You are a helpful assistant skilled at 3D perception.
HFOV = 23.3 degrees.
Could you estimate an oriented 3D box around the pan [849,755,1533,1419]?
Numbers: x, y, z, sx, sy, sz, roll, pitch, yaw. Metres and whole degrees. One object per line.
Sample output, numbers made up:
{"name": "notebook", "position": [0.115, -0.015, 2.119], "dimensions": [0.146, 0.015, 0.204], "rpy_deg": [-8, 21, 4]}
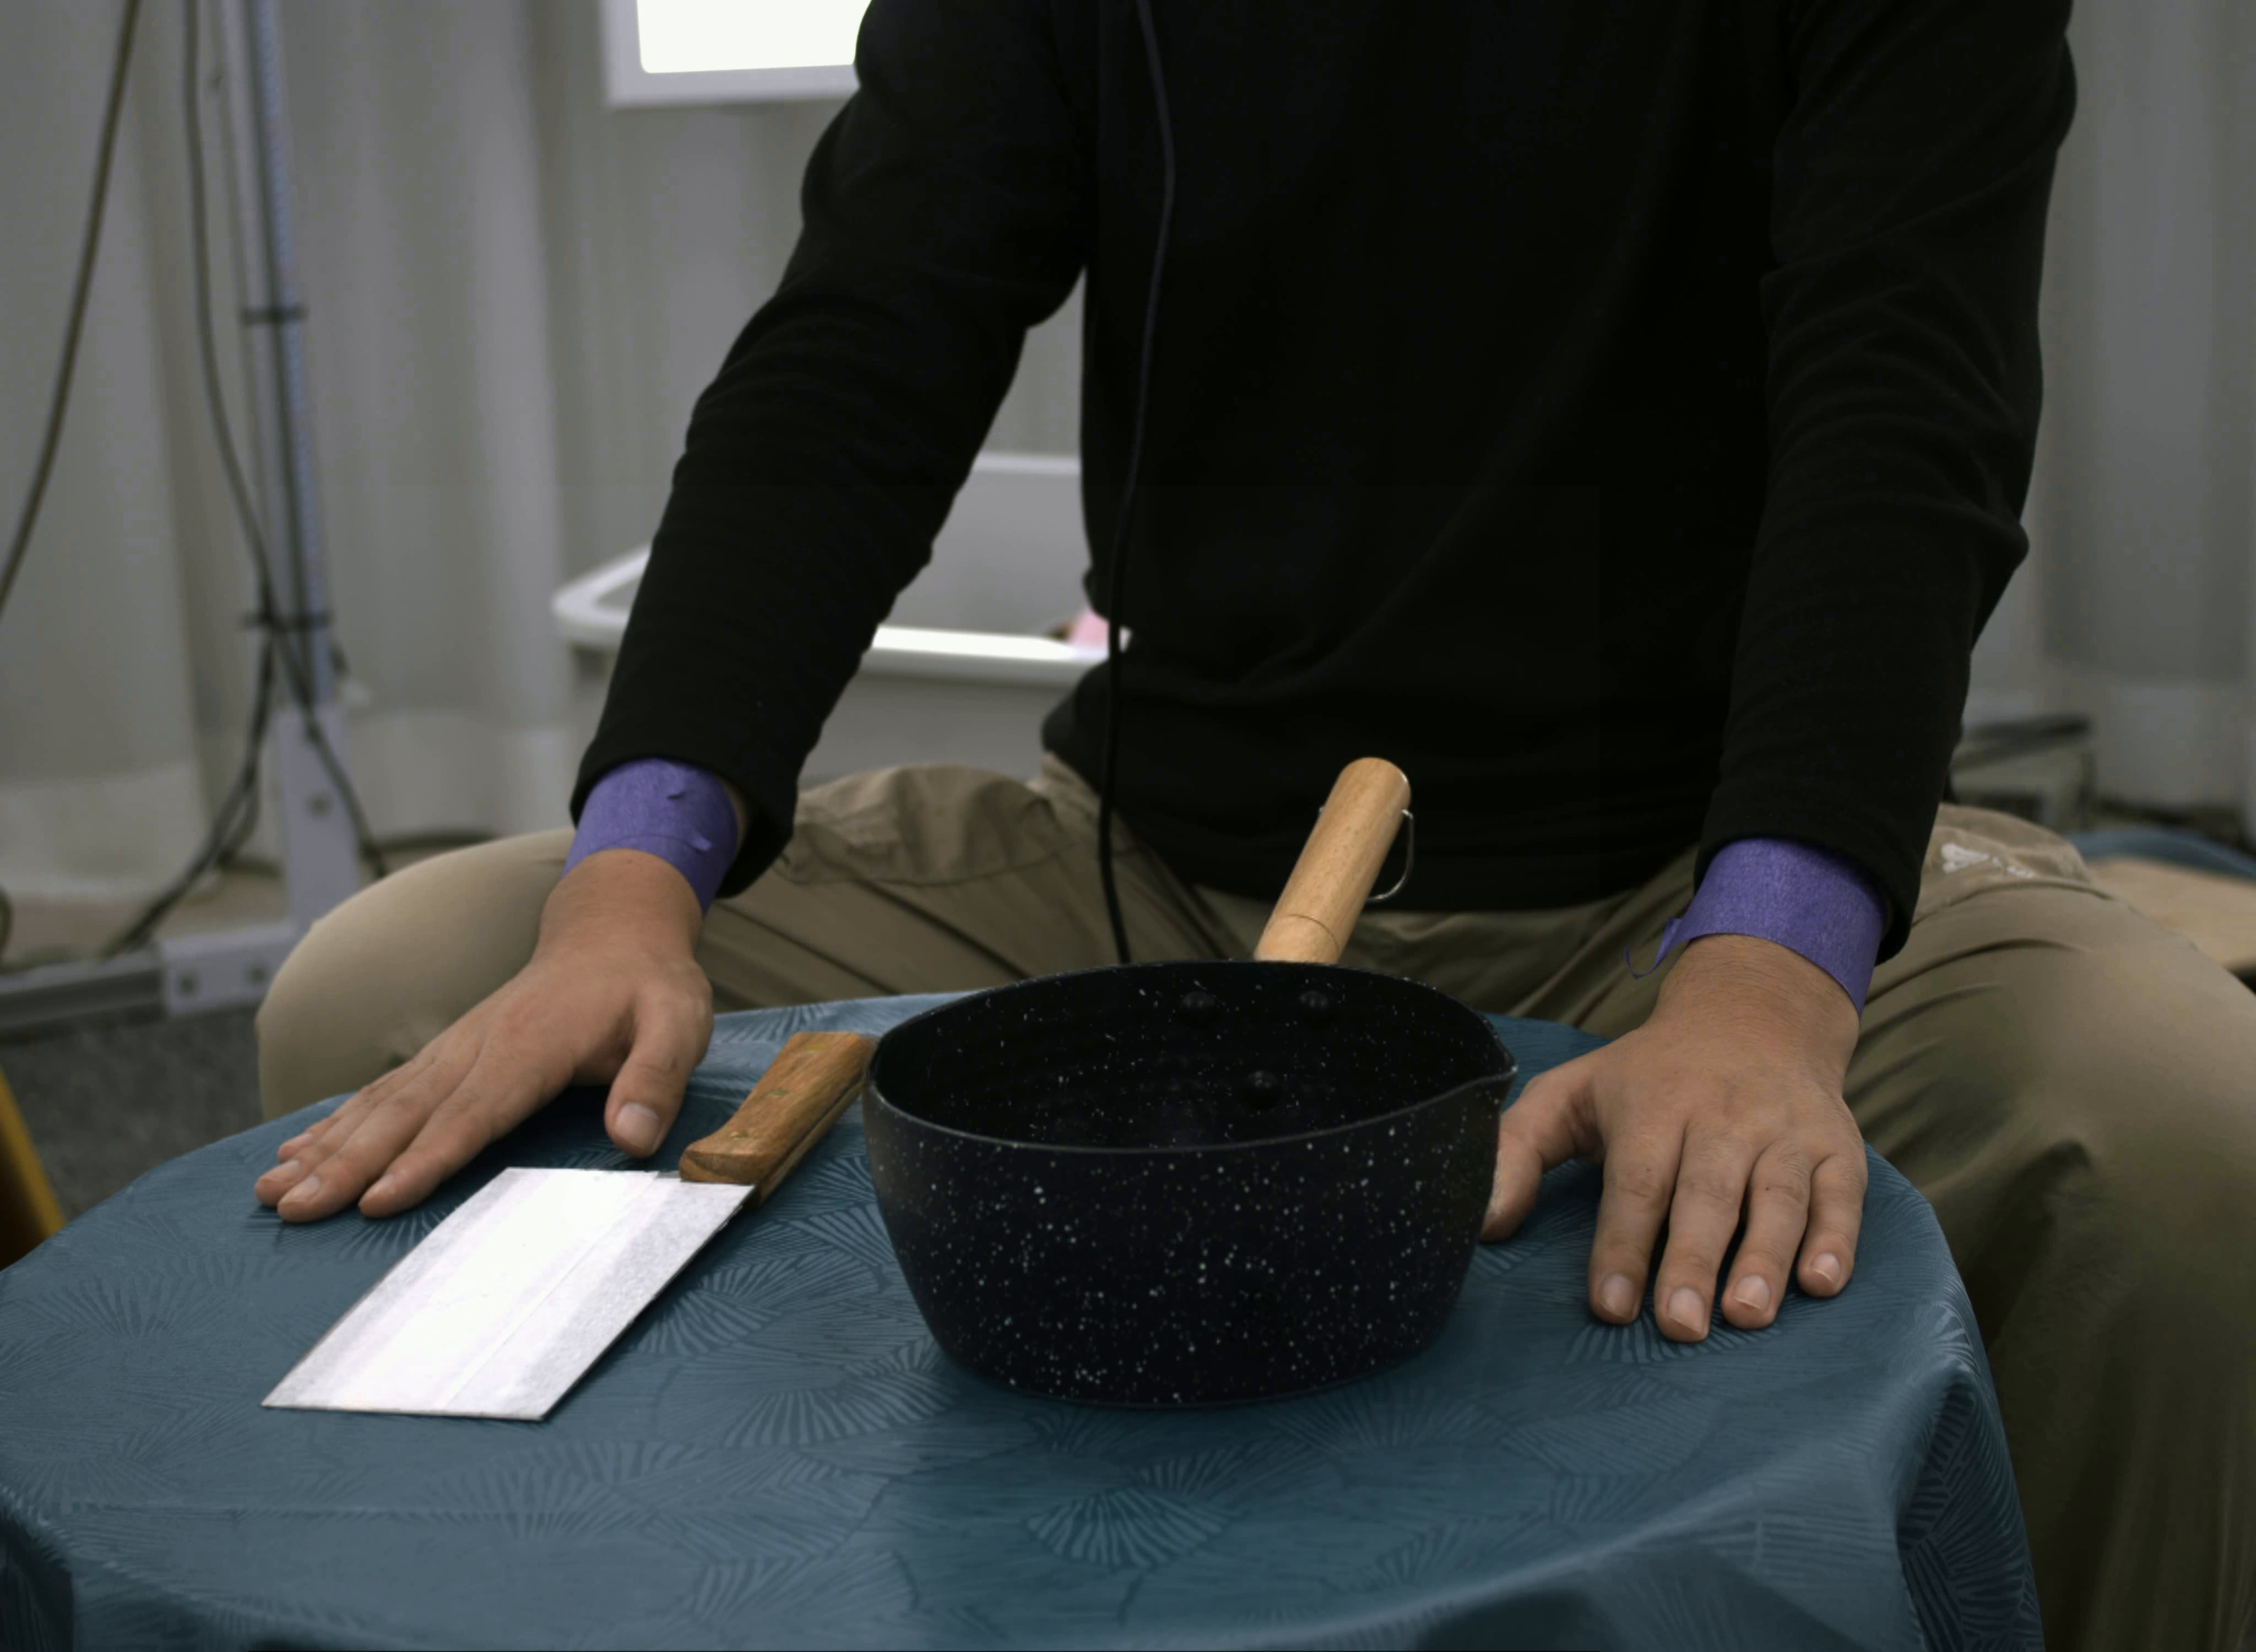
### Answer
{"name": "pan", "position": [0.036, 0.074, 1.658], "dimensions": [0.207, 0.108, 0.344], "rpy_deg": [1, 16, 15]}

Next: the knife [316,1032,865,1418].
{"name": "knife", "position": [-0.164, 0.121, 1.692], "dimensions": [0.093, 0.021, 0.307], "rpy_deg": [0, 17, 17]}
